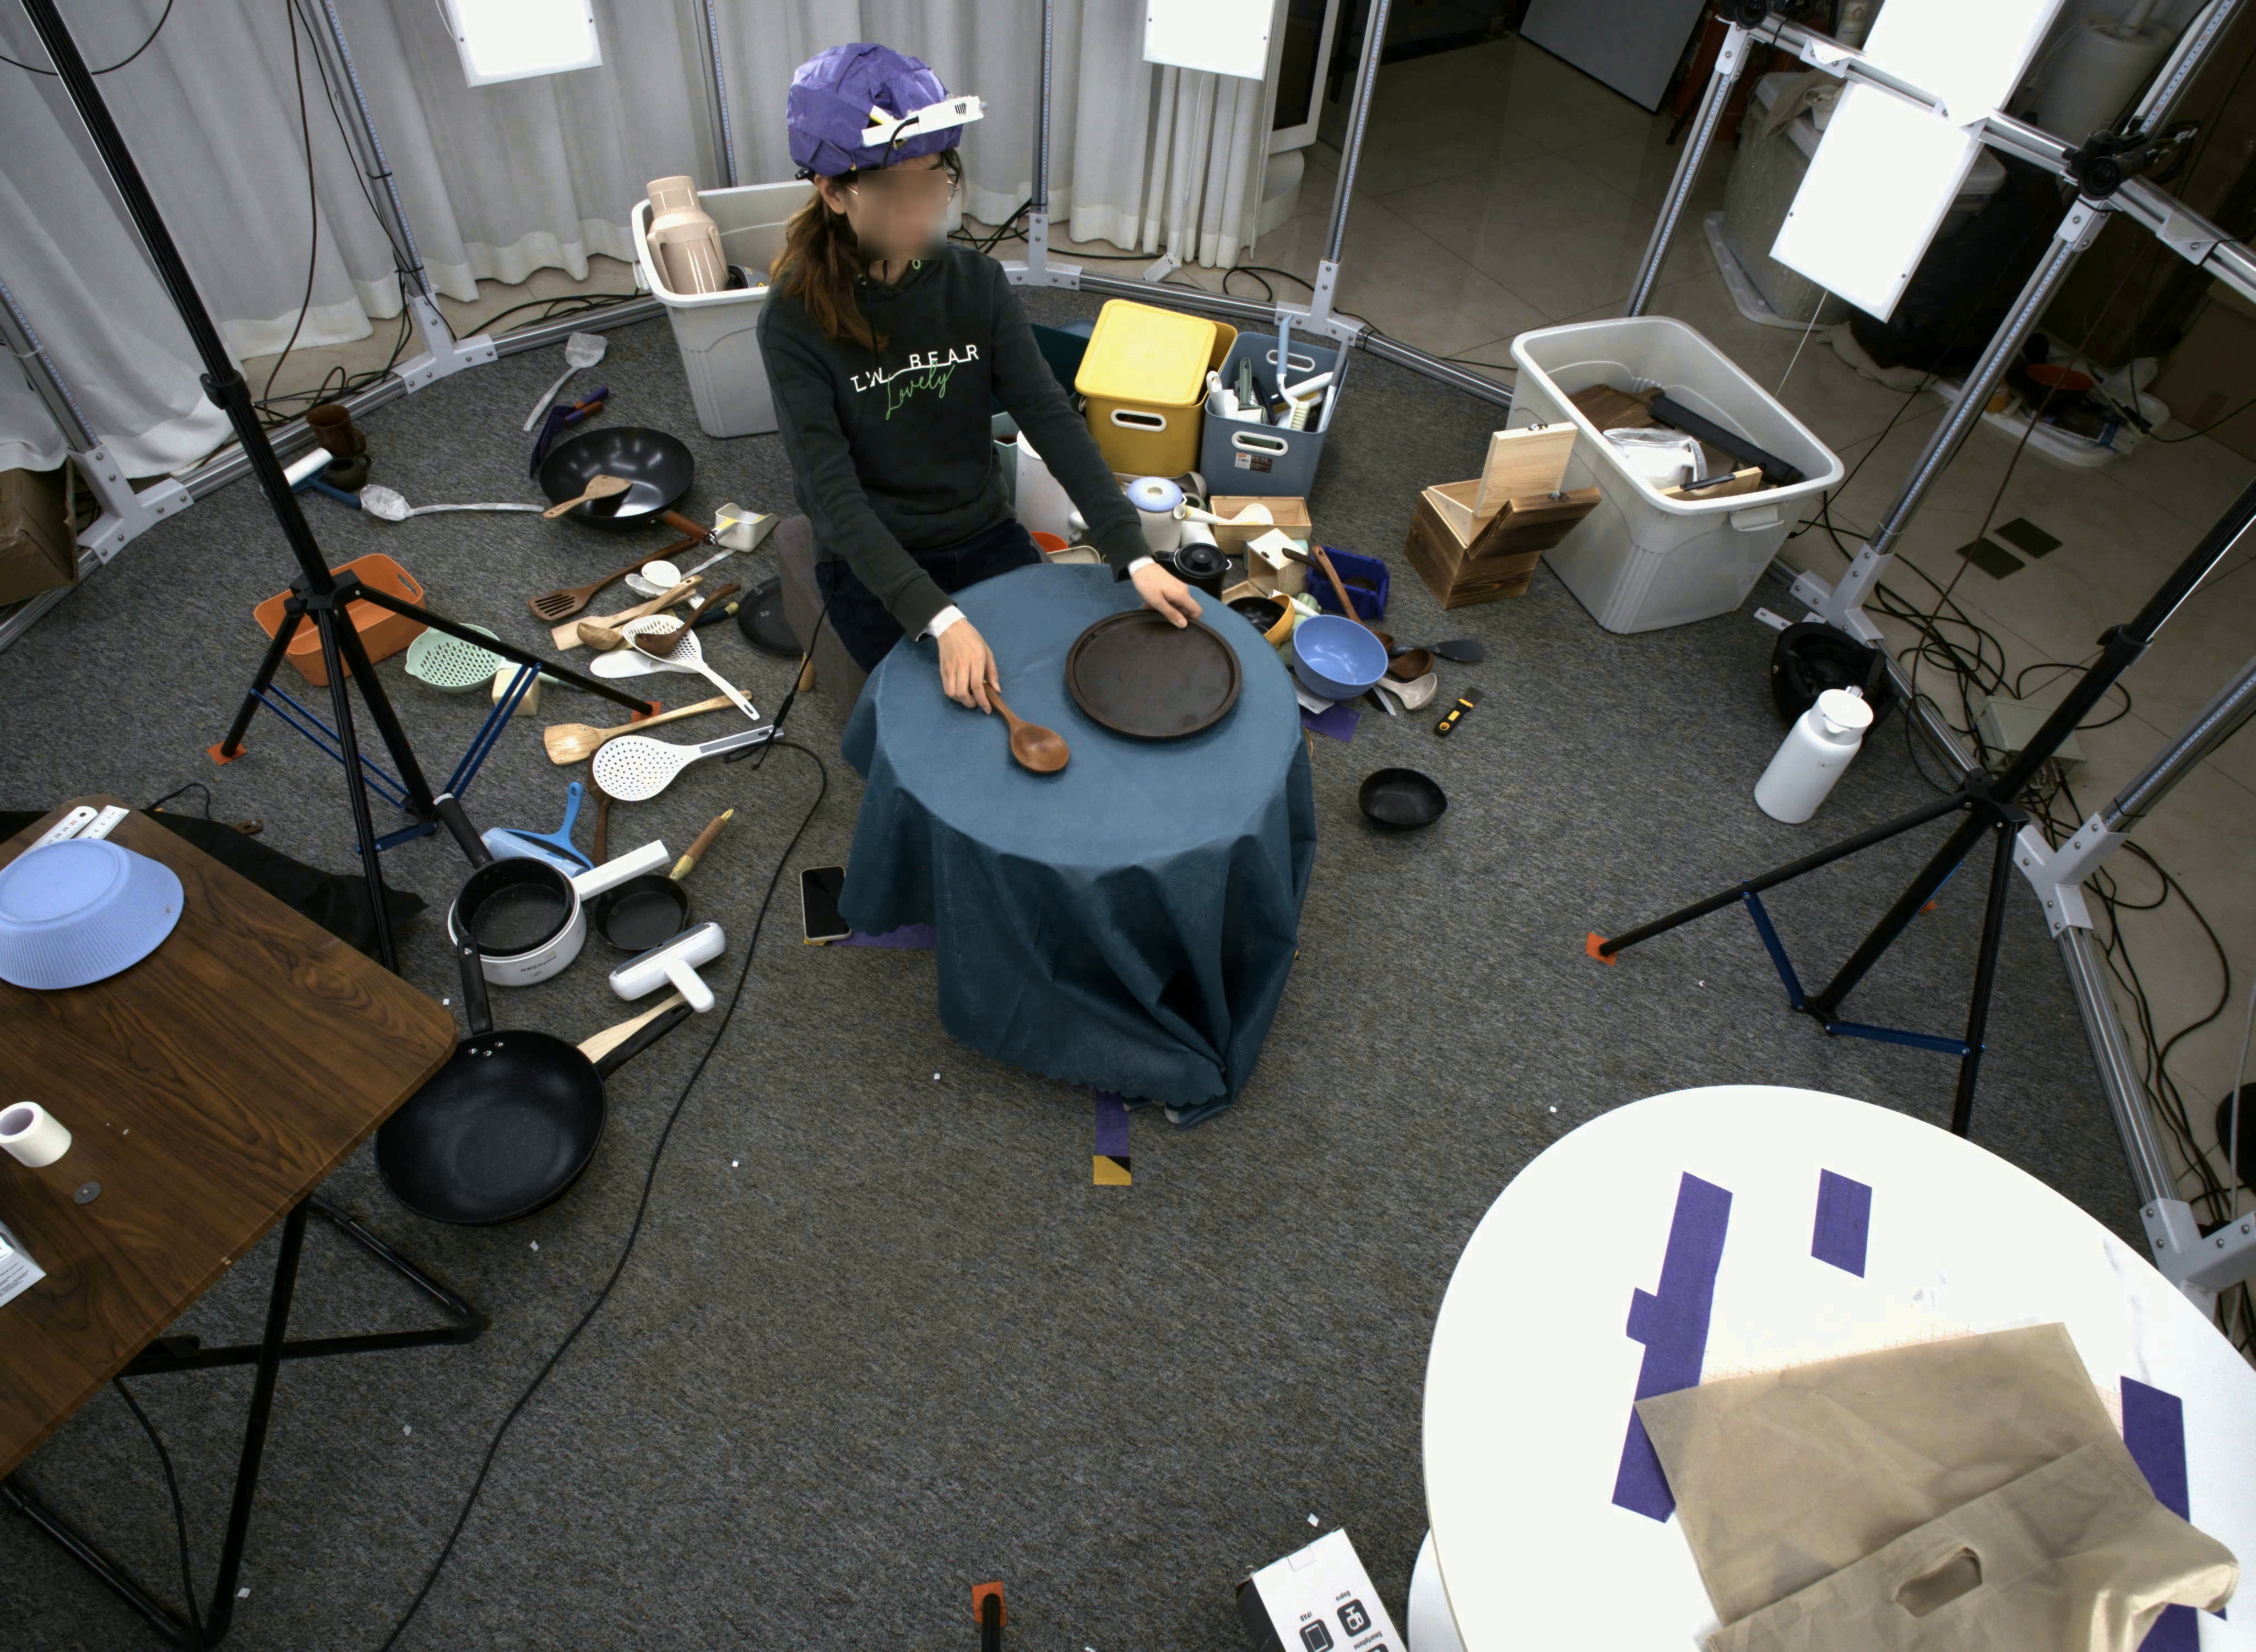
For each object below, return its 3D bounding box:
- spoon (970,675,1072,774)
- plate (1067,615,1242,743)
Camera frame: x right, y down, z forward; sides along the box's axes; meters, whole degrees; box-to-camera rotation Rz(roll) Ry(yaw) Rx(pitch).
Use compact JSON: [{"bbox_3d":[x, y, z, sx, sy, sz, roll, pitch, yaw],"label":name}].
[{"bbox_3d":[-0.156,-0.143,1.786,0.076,0.017,0.220,-26,56,-25],"label":"spoon"},{"bbox_3d":[0.038,-0.215,1.856,0.254,0.028,0.261,2,51,-3],"label":"plate"}]
